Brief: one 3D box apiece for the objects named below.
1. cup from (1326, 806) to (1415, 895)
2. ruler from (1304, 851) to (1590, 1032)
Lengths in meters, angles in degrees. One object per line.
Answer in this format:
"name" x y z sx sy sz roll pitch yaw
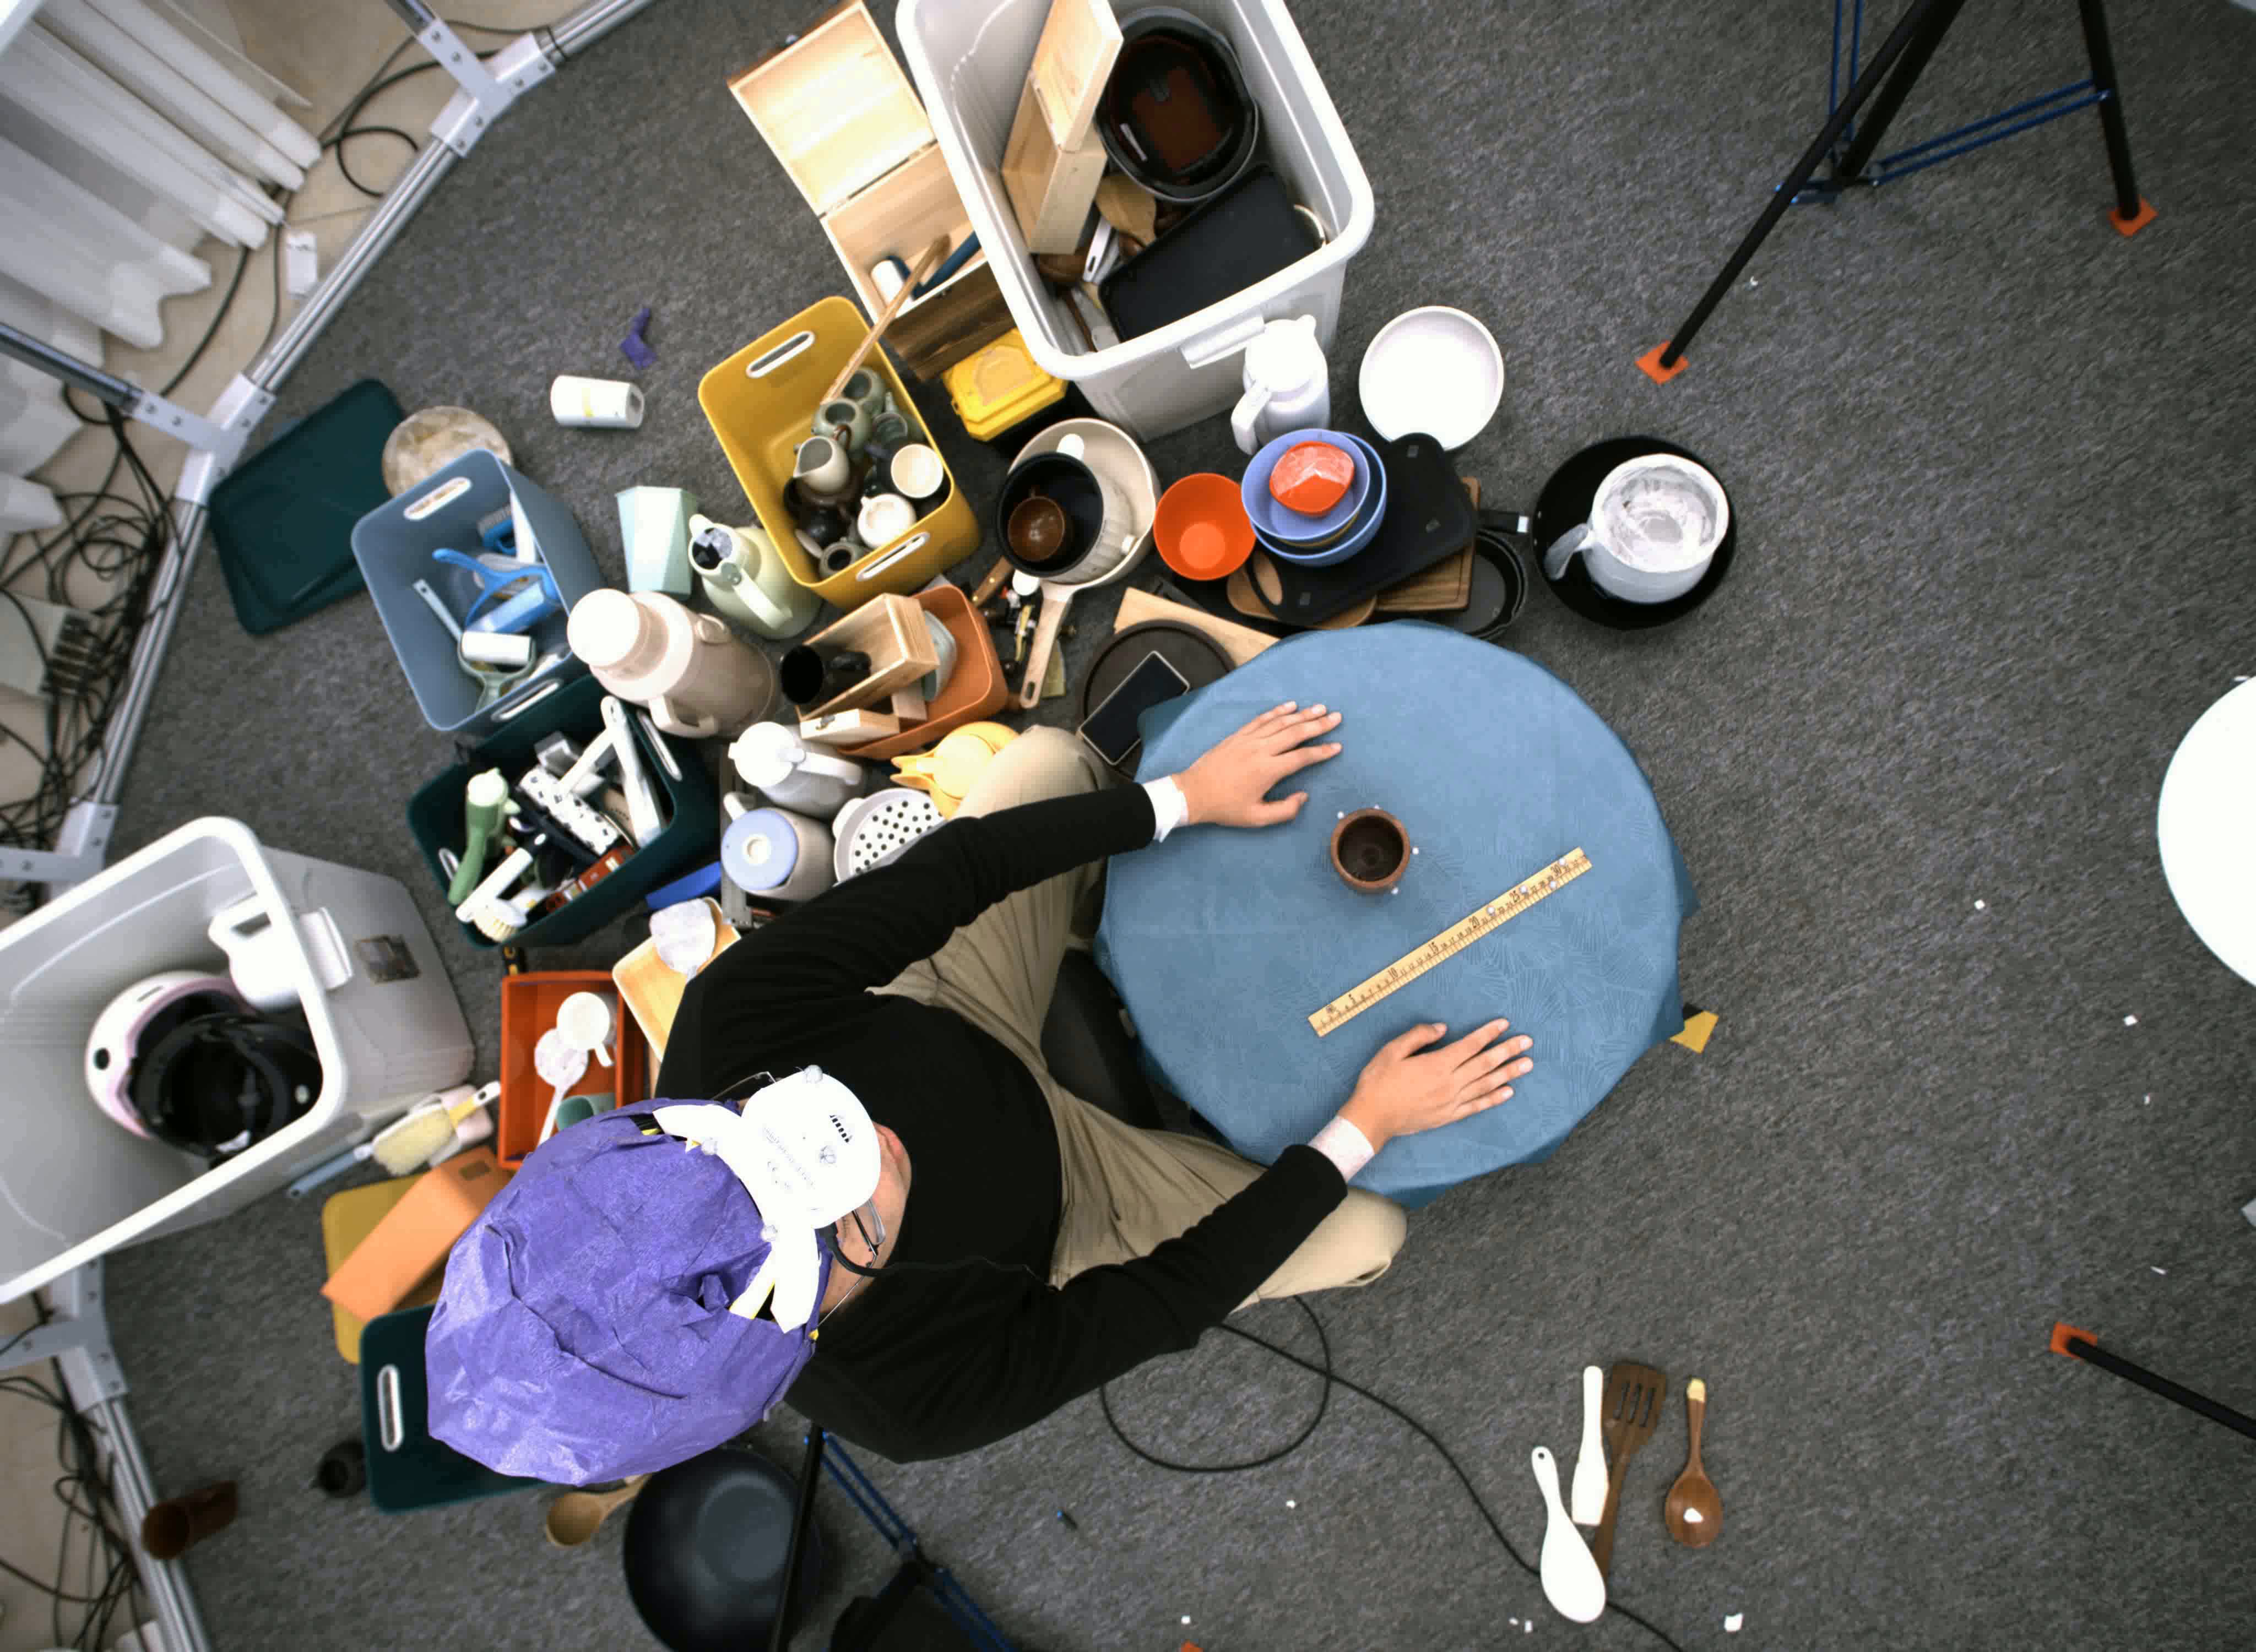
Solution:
"cup" 0.249 0.026 1.408 0.088 0.118 0.087 -1 84 11
"ruler" 0.332 0.120 1.441 0.333 0.022 0.027 -31 77 7
